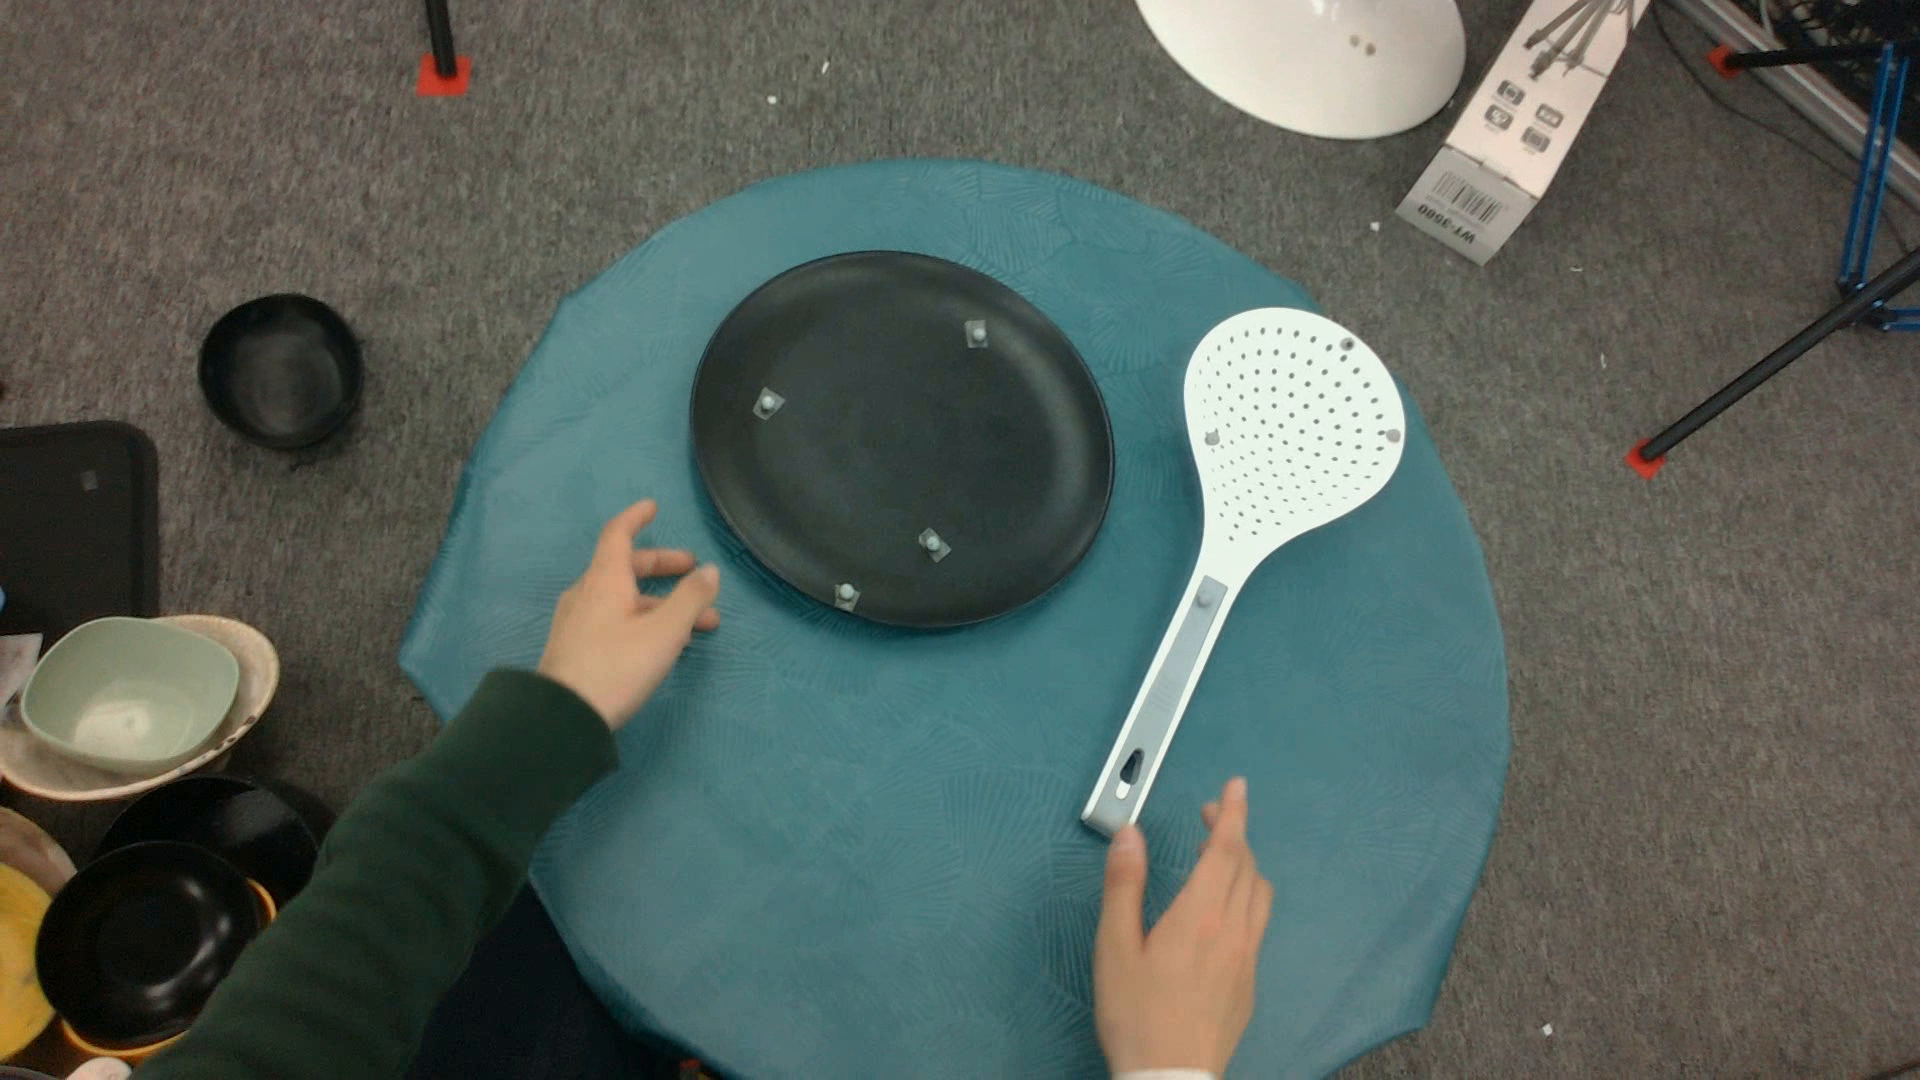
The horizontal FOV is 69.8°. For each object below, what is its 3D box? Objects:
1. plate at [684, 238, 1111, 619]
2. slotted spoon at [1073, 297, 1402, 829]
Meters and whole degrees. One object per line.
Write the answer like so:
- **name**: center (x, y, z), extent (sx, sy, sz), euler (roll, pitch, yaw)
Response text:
- **plate**: center (-0.033, -0.065, 0.779), extent (0.244, 0.023, 0.245), euler (6, 64, -12)
- **slotted spoon**: center (0.148, 0.005, 0.781), extent (0.136, 0.045, 0.351), euler (28, 62, 2)
